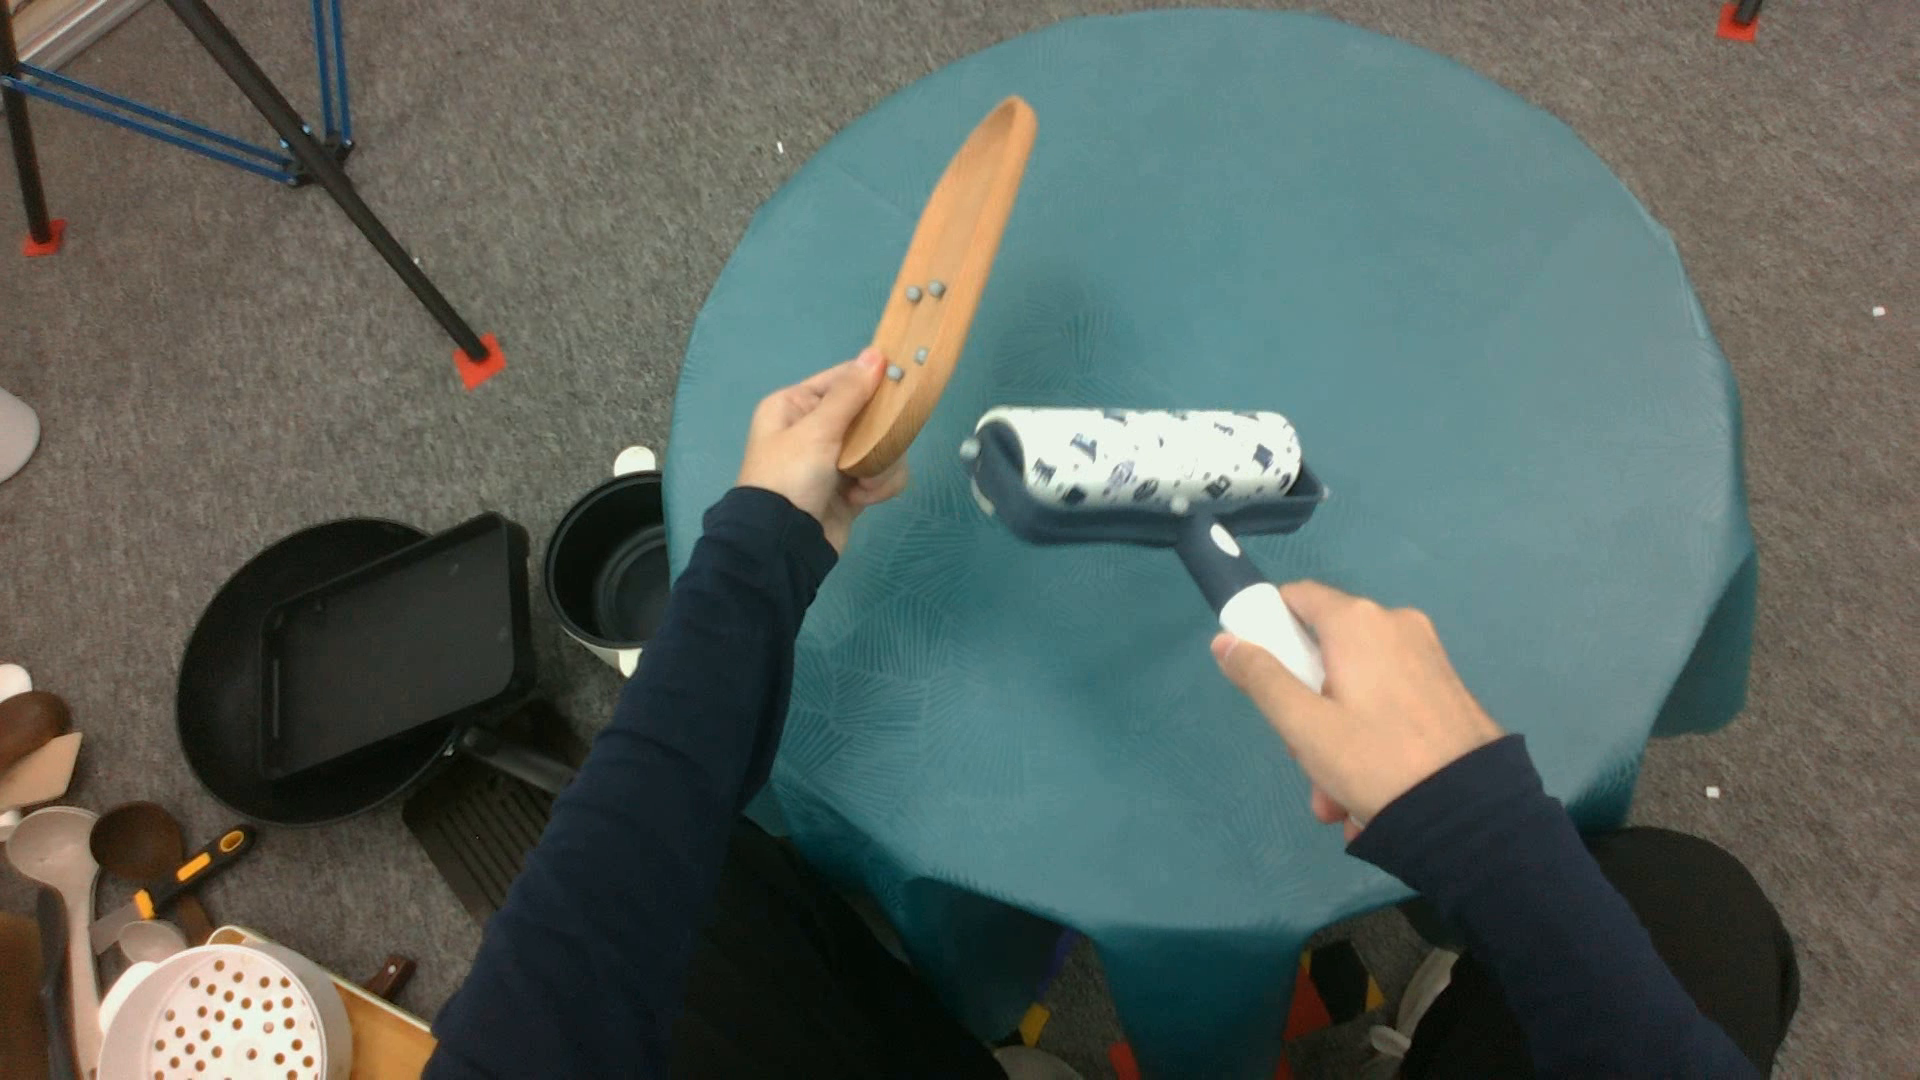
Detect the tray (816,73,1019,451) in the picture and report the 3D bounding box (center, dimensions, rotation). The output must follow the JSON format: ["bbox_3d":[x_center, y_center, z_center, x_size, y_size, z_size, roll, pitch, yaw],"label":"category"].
[{"bbox_3d":[-0.020,-0.143,0.695,0.020,0.101,0.232,31,59,-22],"label":"tray"}]

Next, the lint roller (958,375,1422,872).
[{"bbox_3d":[0.120,0.023,0.575,0.177,0.050,0.247,-2,47,-35],"label":"lint roller"}]
